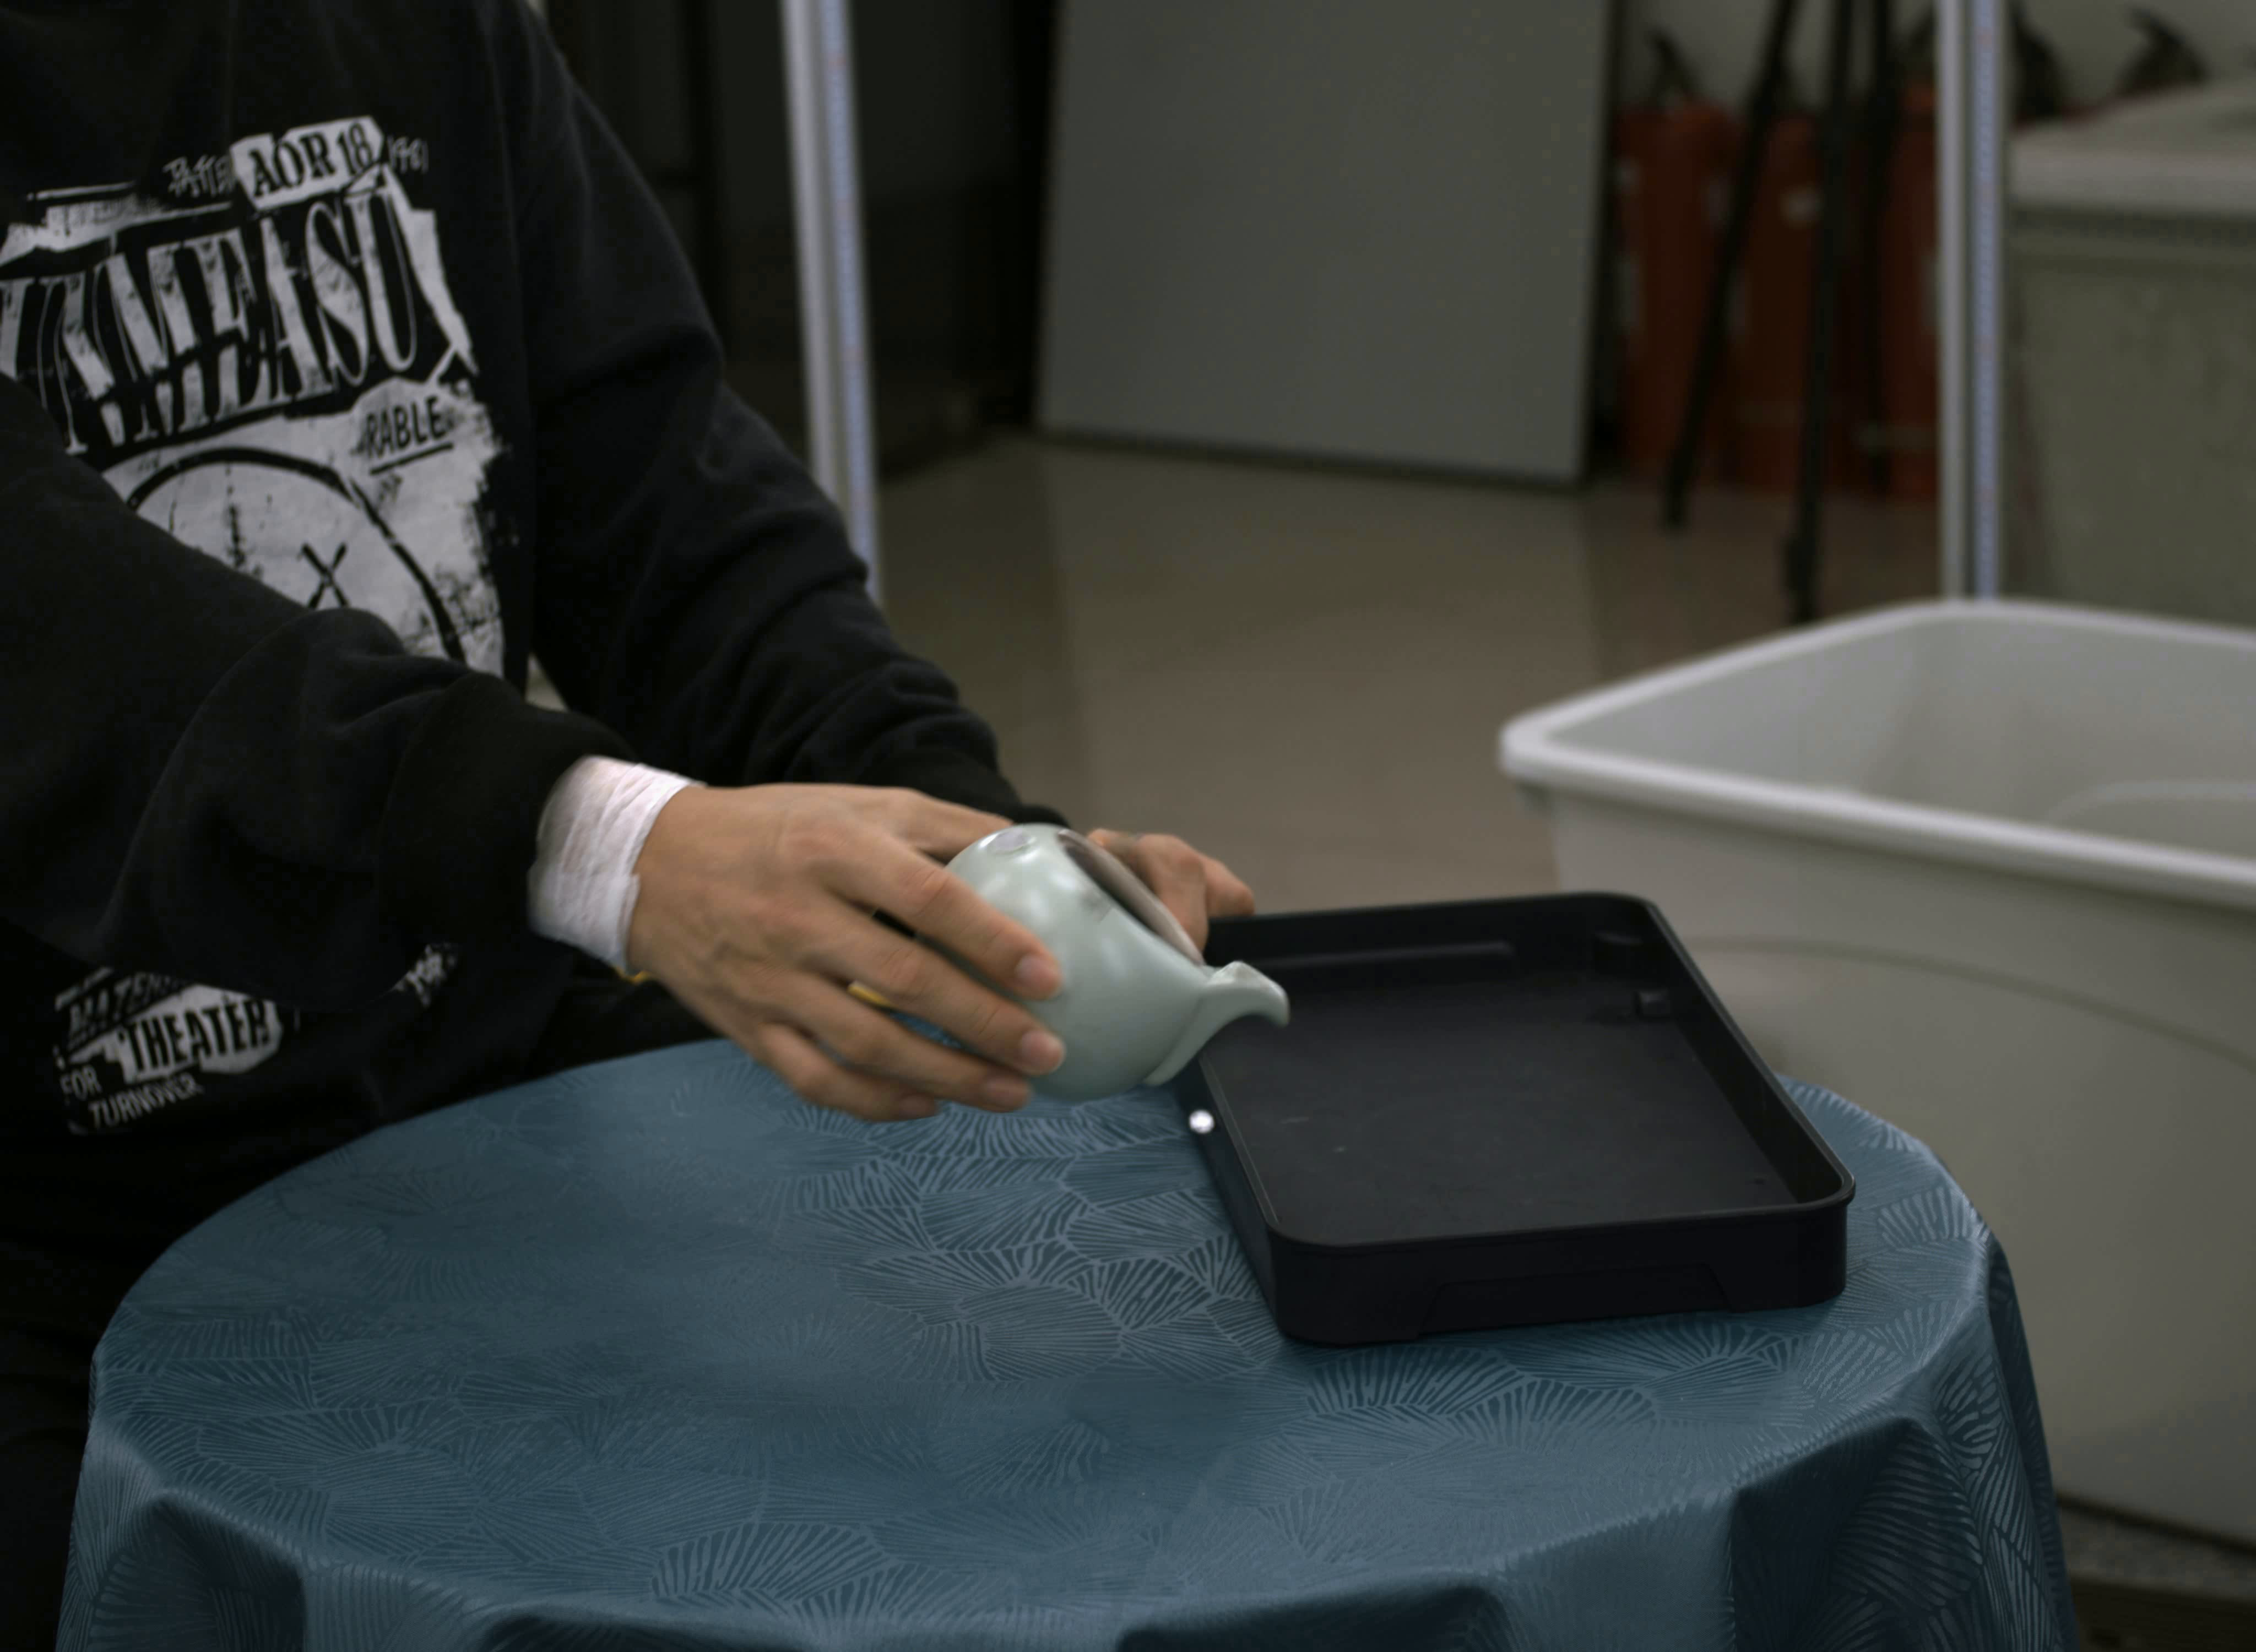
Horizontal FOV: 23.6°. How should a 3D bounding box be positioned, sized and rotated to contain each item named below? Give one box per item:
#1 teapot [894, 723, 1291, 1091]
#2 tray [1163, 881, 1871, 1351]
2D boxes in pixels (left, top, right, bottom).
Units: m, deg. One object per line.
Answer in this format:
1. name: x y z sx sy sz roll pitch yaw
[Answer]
1. teapot: -0.020 0.036 1.615 0.075 0.142 0.089 -45 23 8
2. tray: 0.115 0.089 1.751 0.181 0.037 0.320 -4 18 -8
